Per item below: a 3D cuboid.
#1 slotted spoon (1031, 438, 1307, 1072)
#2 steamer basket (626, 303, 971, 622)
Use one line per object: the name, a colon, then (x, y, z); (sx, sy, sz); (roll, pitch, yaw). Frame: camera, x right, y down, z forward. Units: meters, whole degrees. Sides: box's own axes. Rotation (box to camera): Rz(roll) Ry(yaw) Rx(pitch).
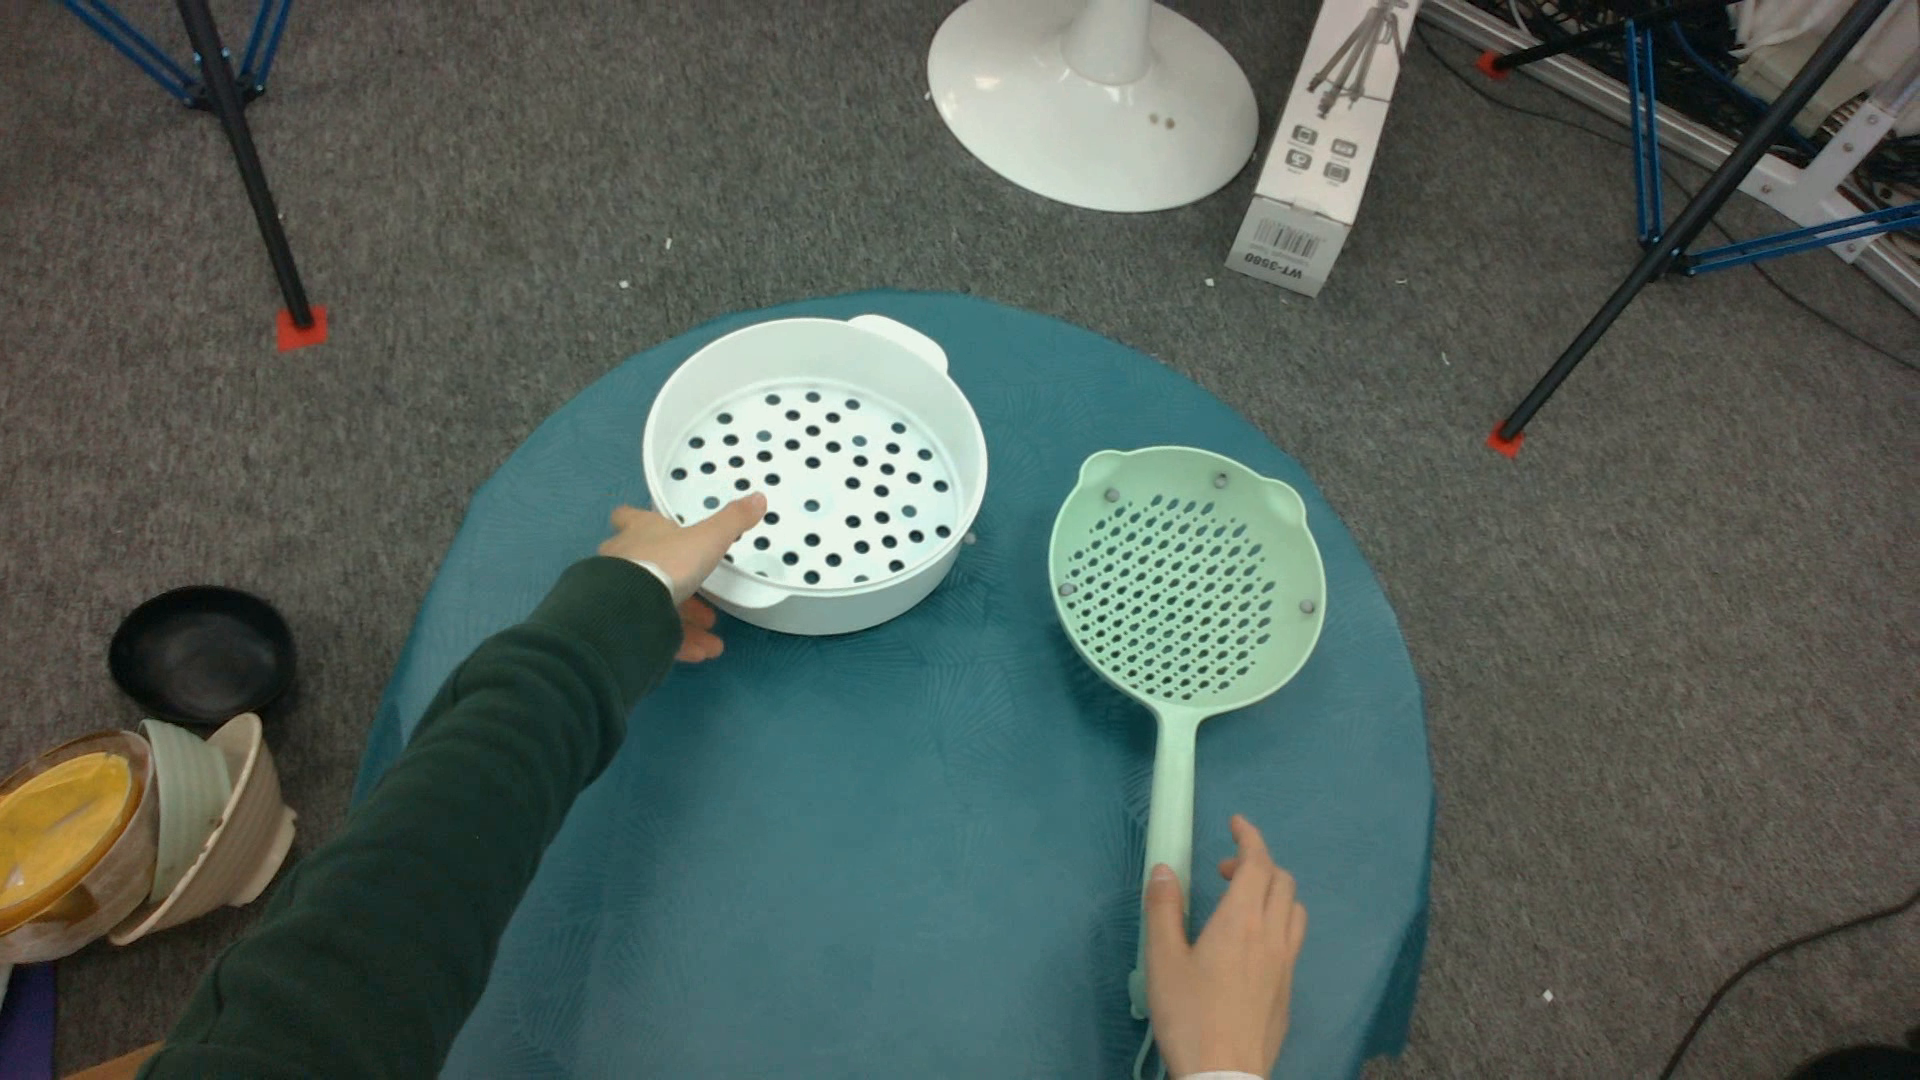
slotted spoon: (0.111, 0.106, 0.779); (0.169, 0.075, 0.360); (10, 56, -5)
steamer basket: (-0.097, -0.045, 0.833); (0.202, 0.069, 0.232); (26, 56, 7)
